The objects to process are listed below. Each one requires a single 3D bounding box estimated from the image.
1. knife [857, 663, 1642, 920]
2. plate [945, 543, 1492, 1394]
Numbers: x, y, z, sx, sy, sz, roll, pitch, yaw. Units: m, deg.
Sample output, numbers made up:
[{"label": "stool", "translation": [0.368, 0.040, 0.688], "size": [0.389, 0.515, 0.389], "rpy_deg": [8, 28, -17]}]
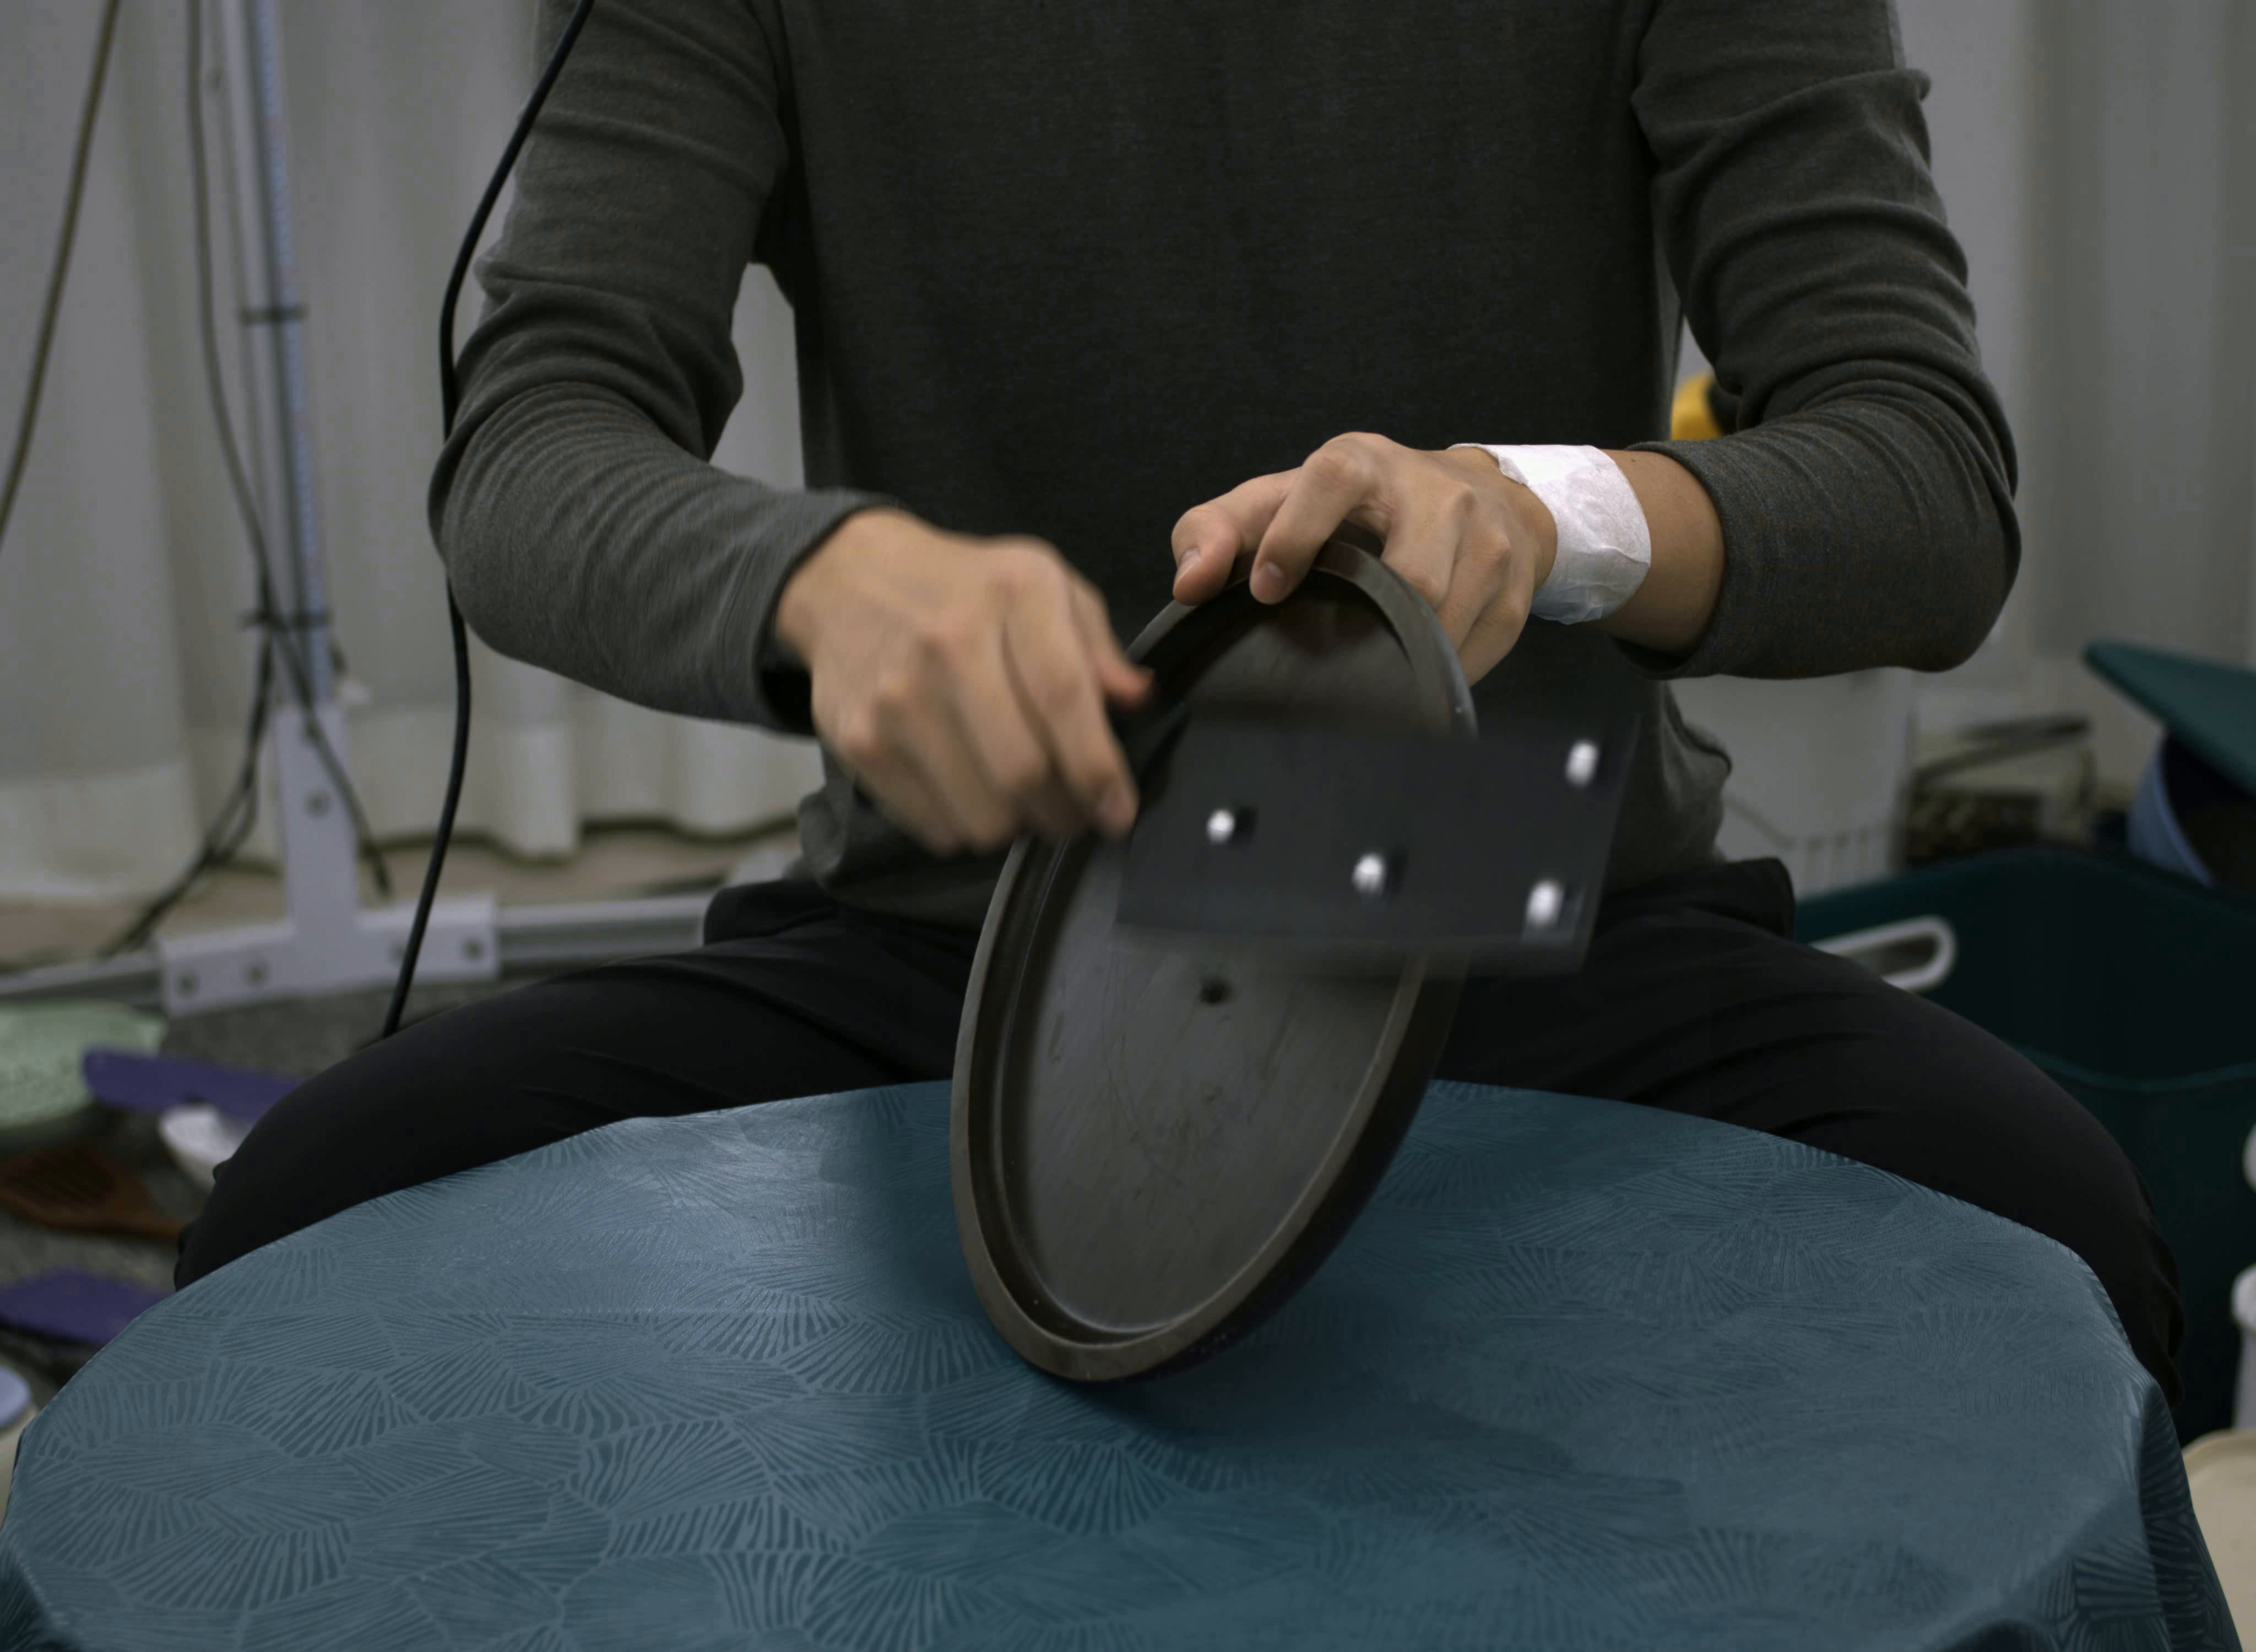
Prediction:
[{"label": "knife", "translation": [0.026, -0.011, 1.531], "size": [0.020, 0.081, 0.303], "rpy_deg": [26, -13, -41]}, {"label": "plate", "translation": [0.024, 0.040, 1.568], "size": [0.029, 0.255, 0.257], "rpy_deg": [19, 3, -29]}]
